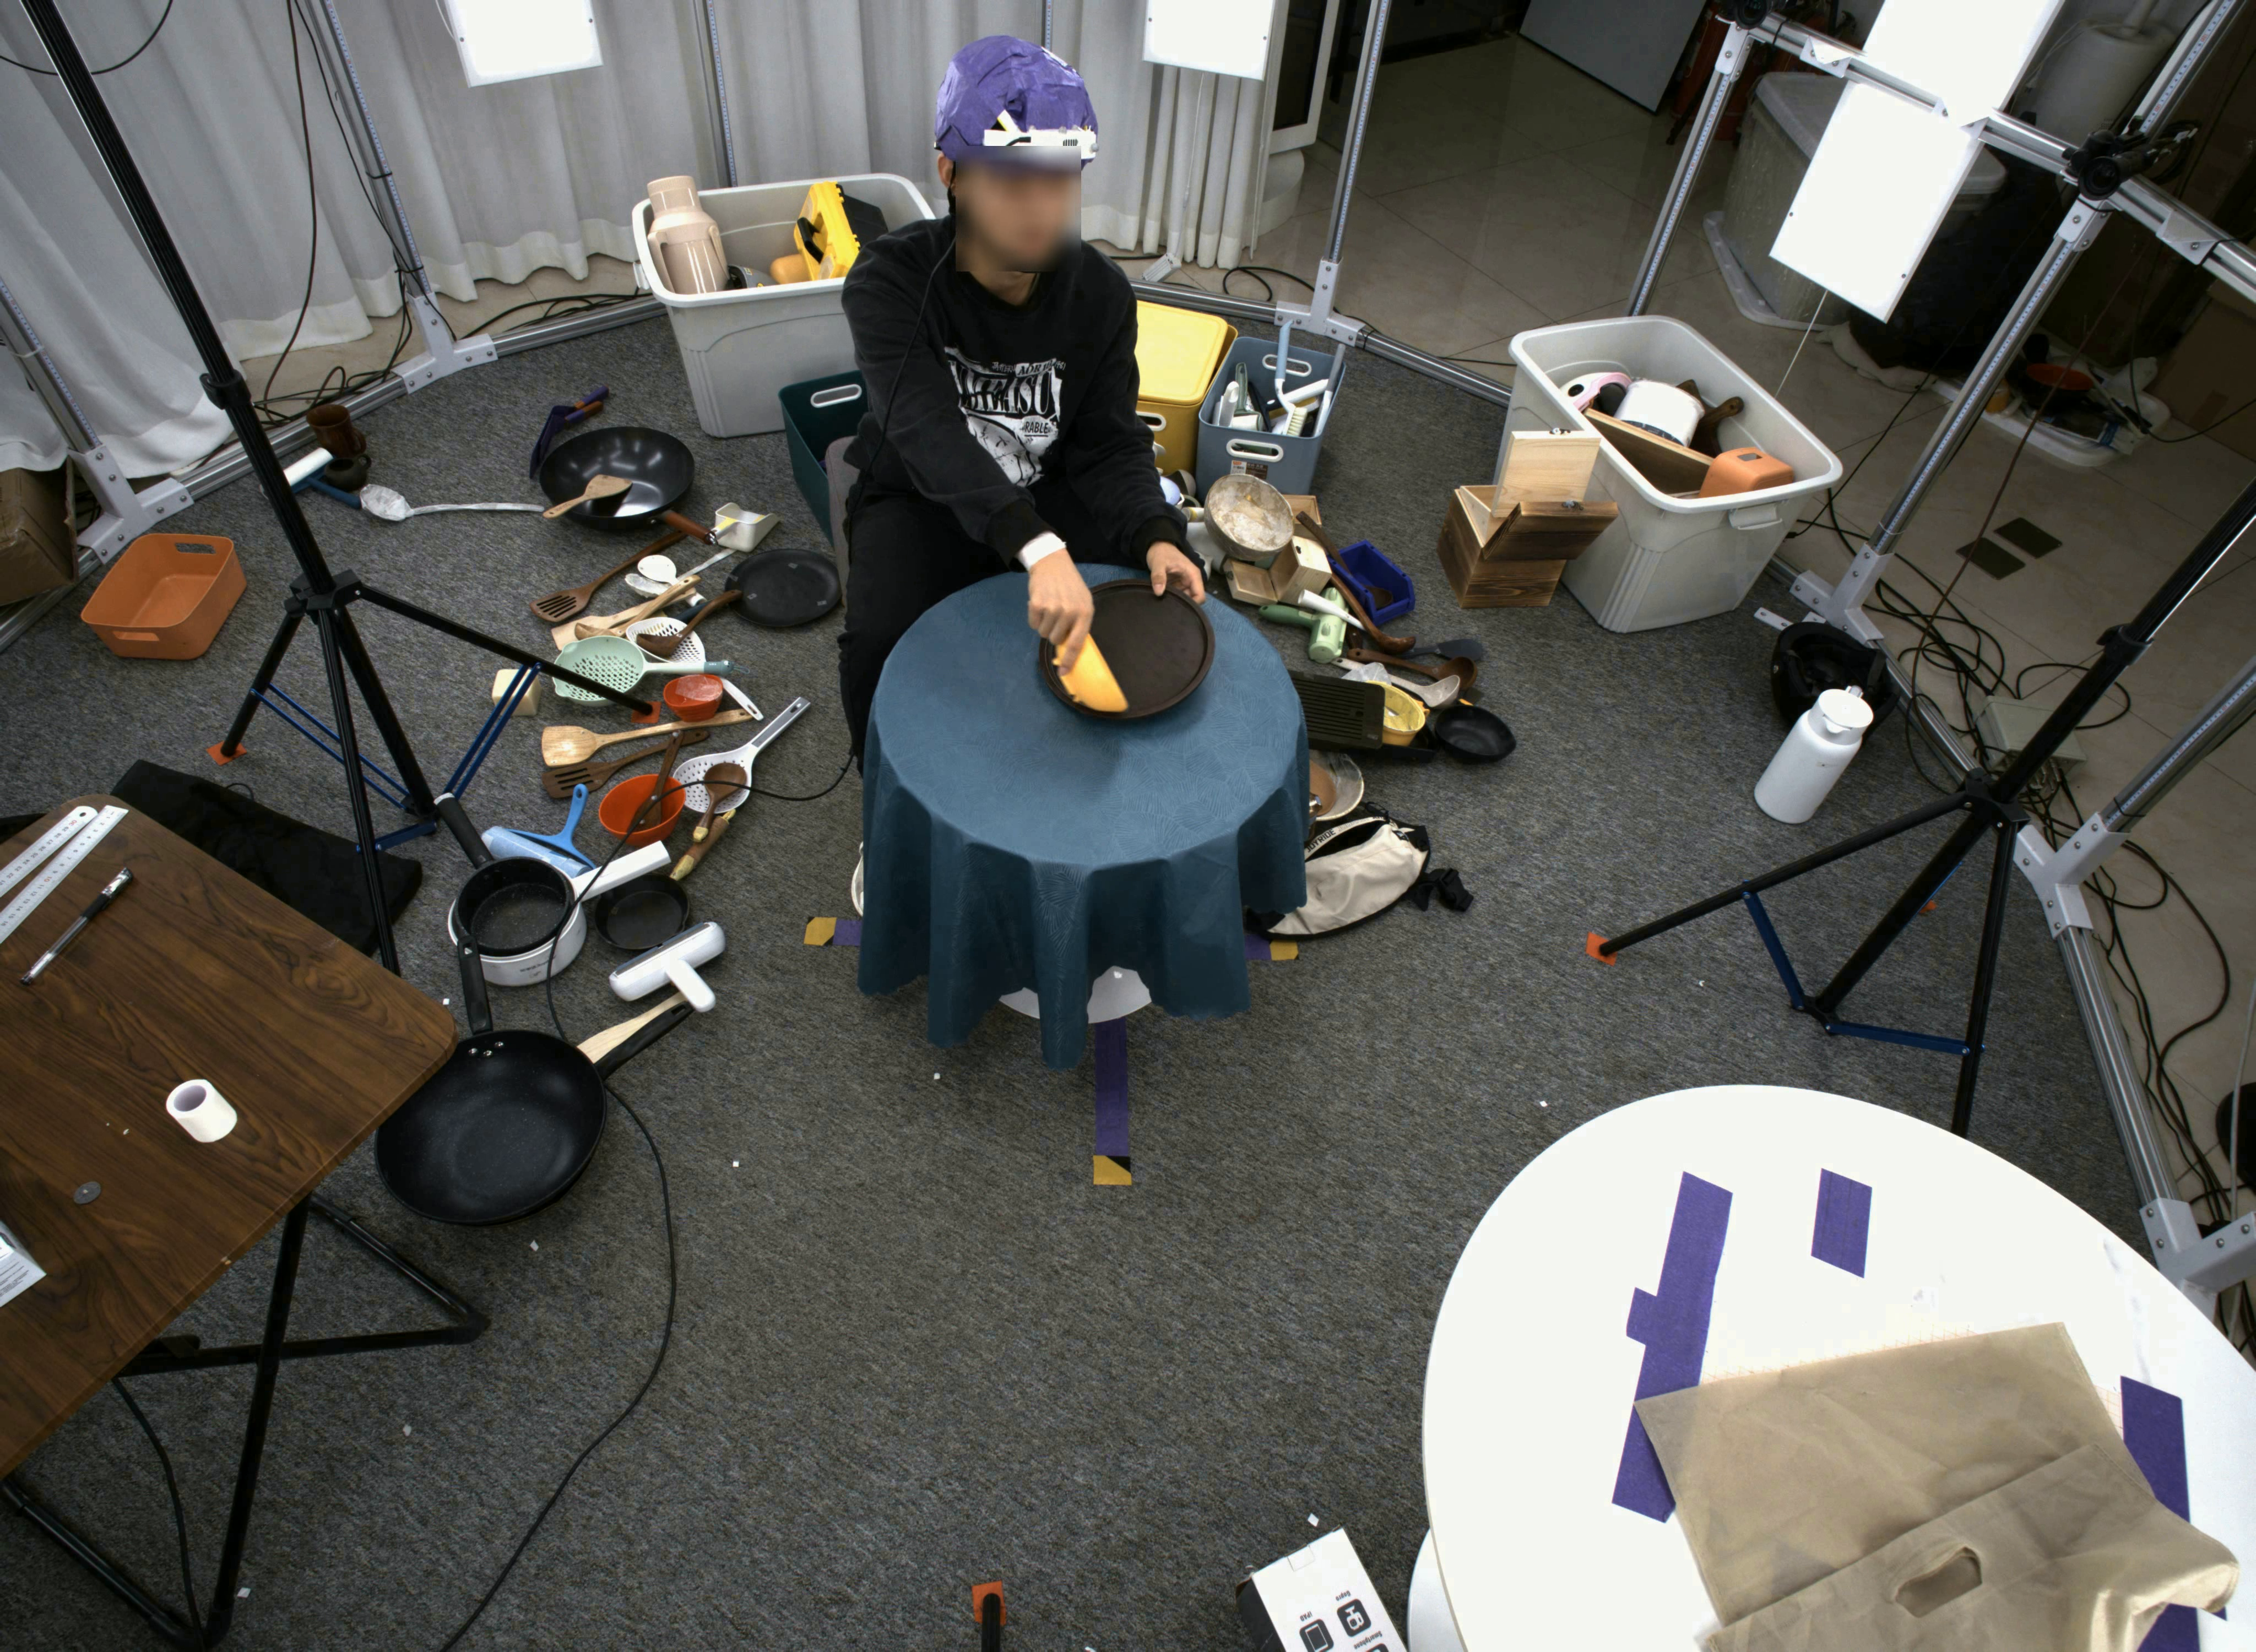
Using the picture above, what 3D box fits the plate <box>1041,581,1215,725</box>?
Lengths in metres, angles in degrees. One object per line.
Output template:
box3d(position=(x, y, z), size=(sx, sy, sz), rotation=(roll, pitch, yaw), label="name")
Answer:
box3d(position=(0.000, -0.251, 1.857), size=(0.255, 0.028, 0.261), rotation=(-4, 57, 7), label="plate")

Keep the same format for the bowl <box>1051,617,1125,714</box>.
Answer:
box3d(position=(-0.064, -0.207, 1.751), size=(0.060, 0.142, 0.149), rotation=(-29, 53, 4), label="bowl")
